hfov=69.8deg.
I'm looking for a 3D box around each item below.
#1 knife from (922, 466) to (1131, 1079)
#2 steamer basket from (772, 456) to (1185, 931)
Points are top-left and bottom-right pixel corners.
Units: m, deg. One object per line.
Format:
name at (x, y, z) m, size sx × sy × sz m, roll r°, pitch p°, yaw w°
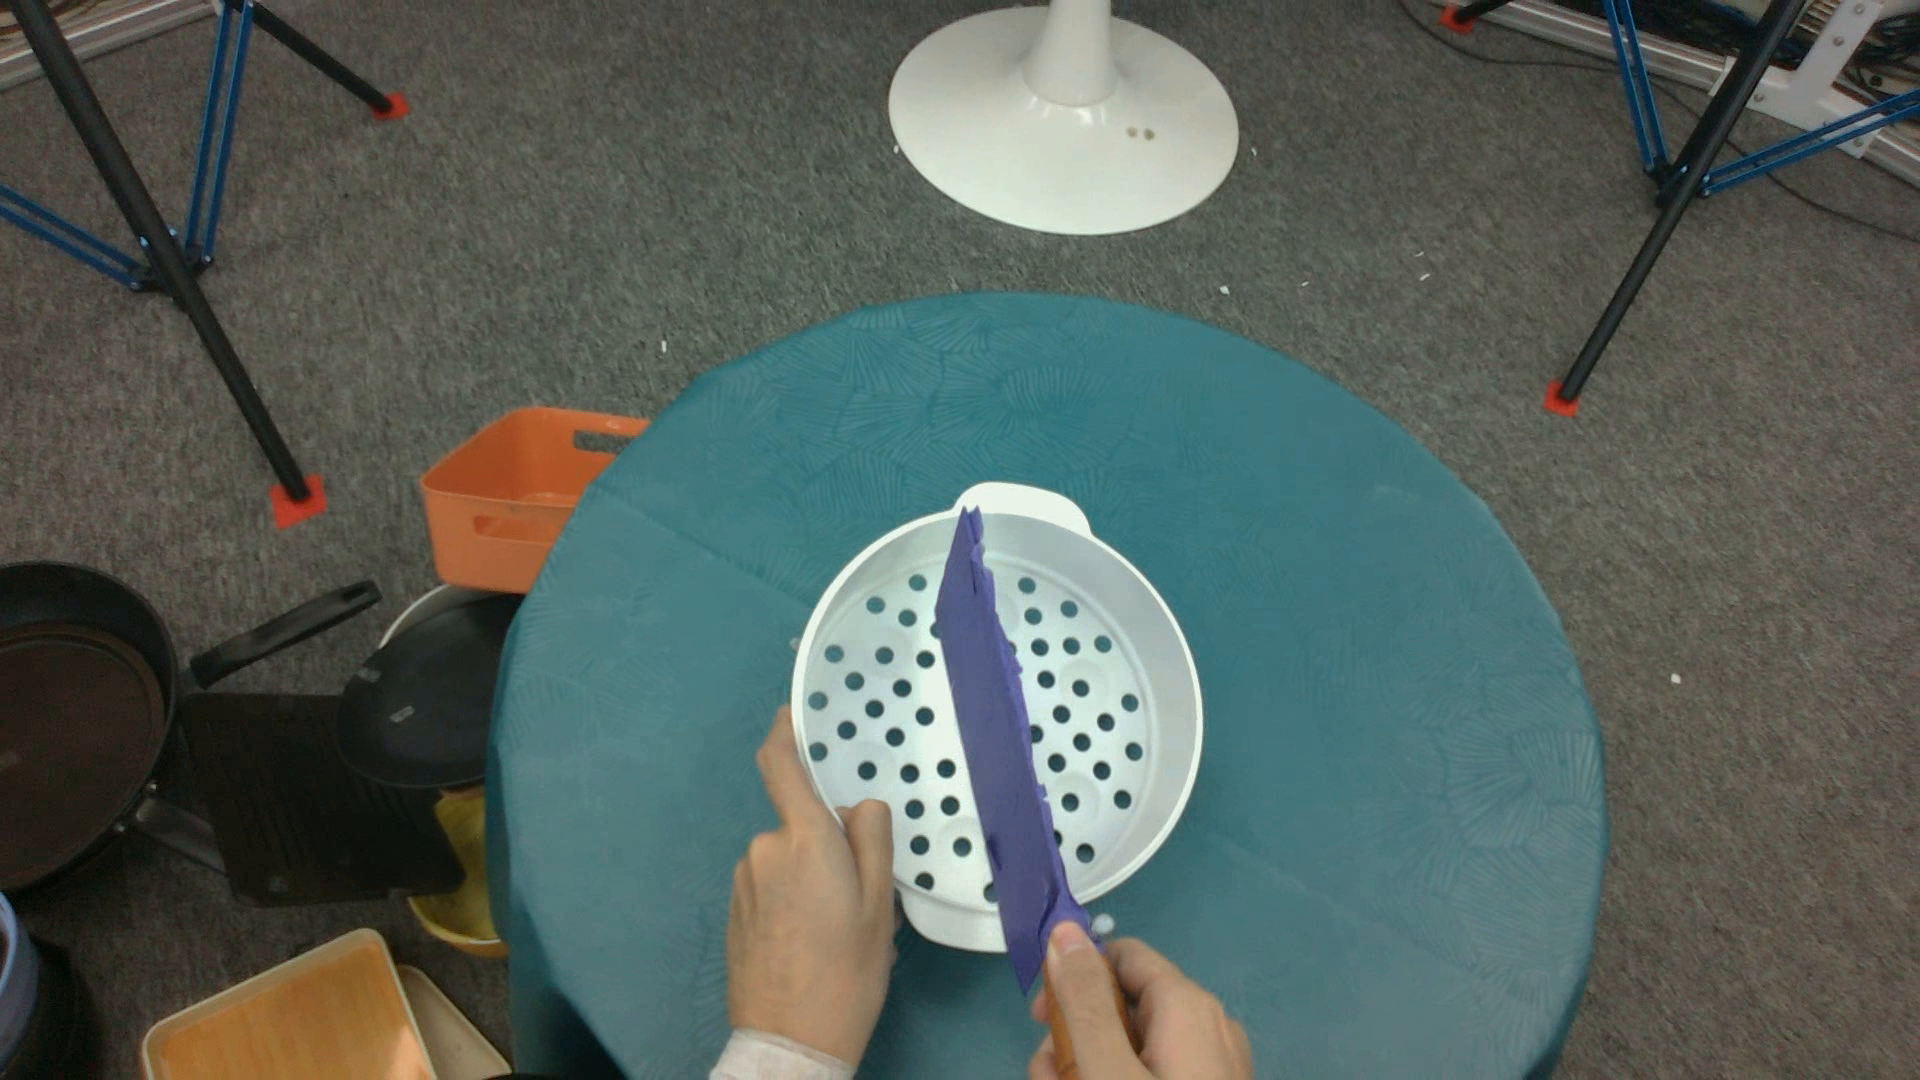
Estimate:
knife at (0.021, 0.118, 0.576) m, size 0.032 × 0.103 × 0.316 m, roll -1°, pitch 52°, yaw -13°
steamer basket at (0.006, 0.076, 0.685) m, size 0.202 × 0.069 × 0.231 m, roll 10°, pitch 71°, yaw -8°
